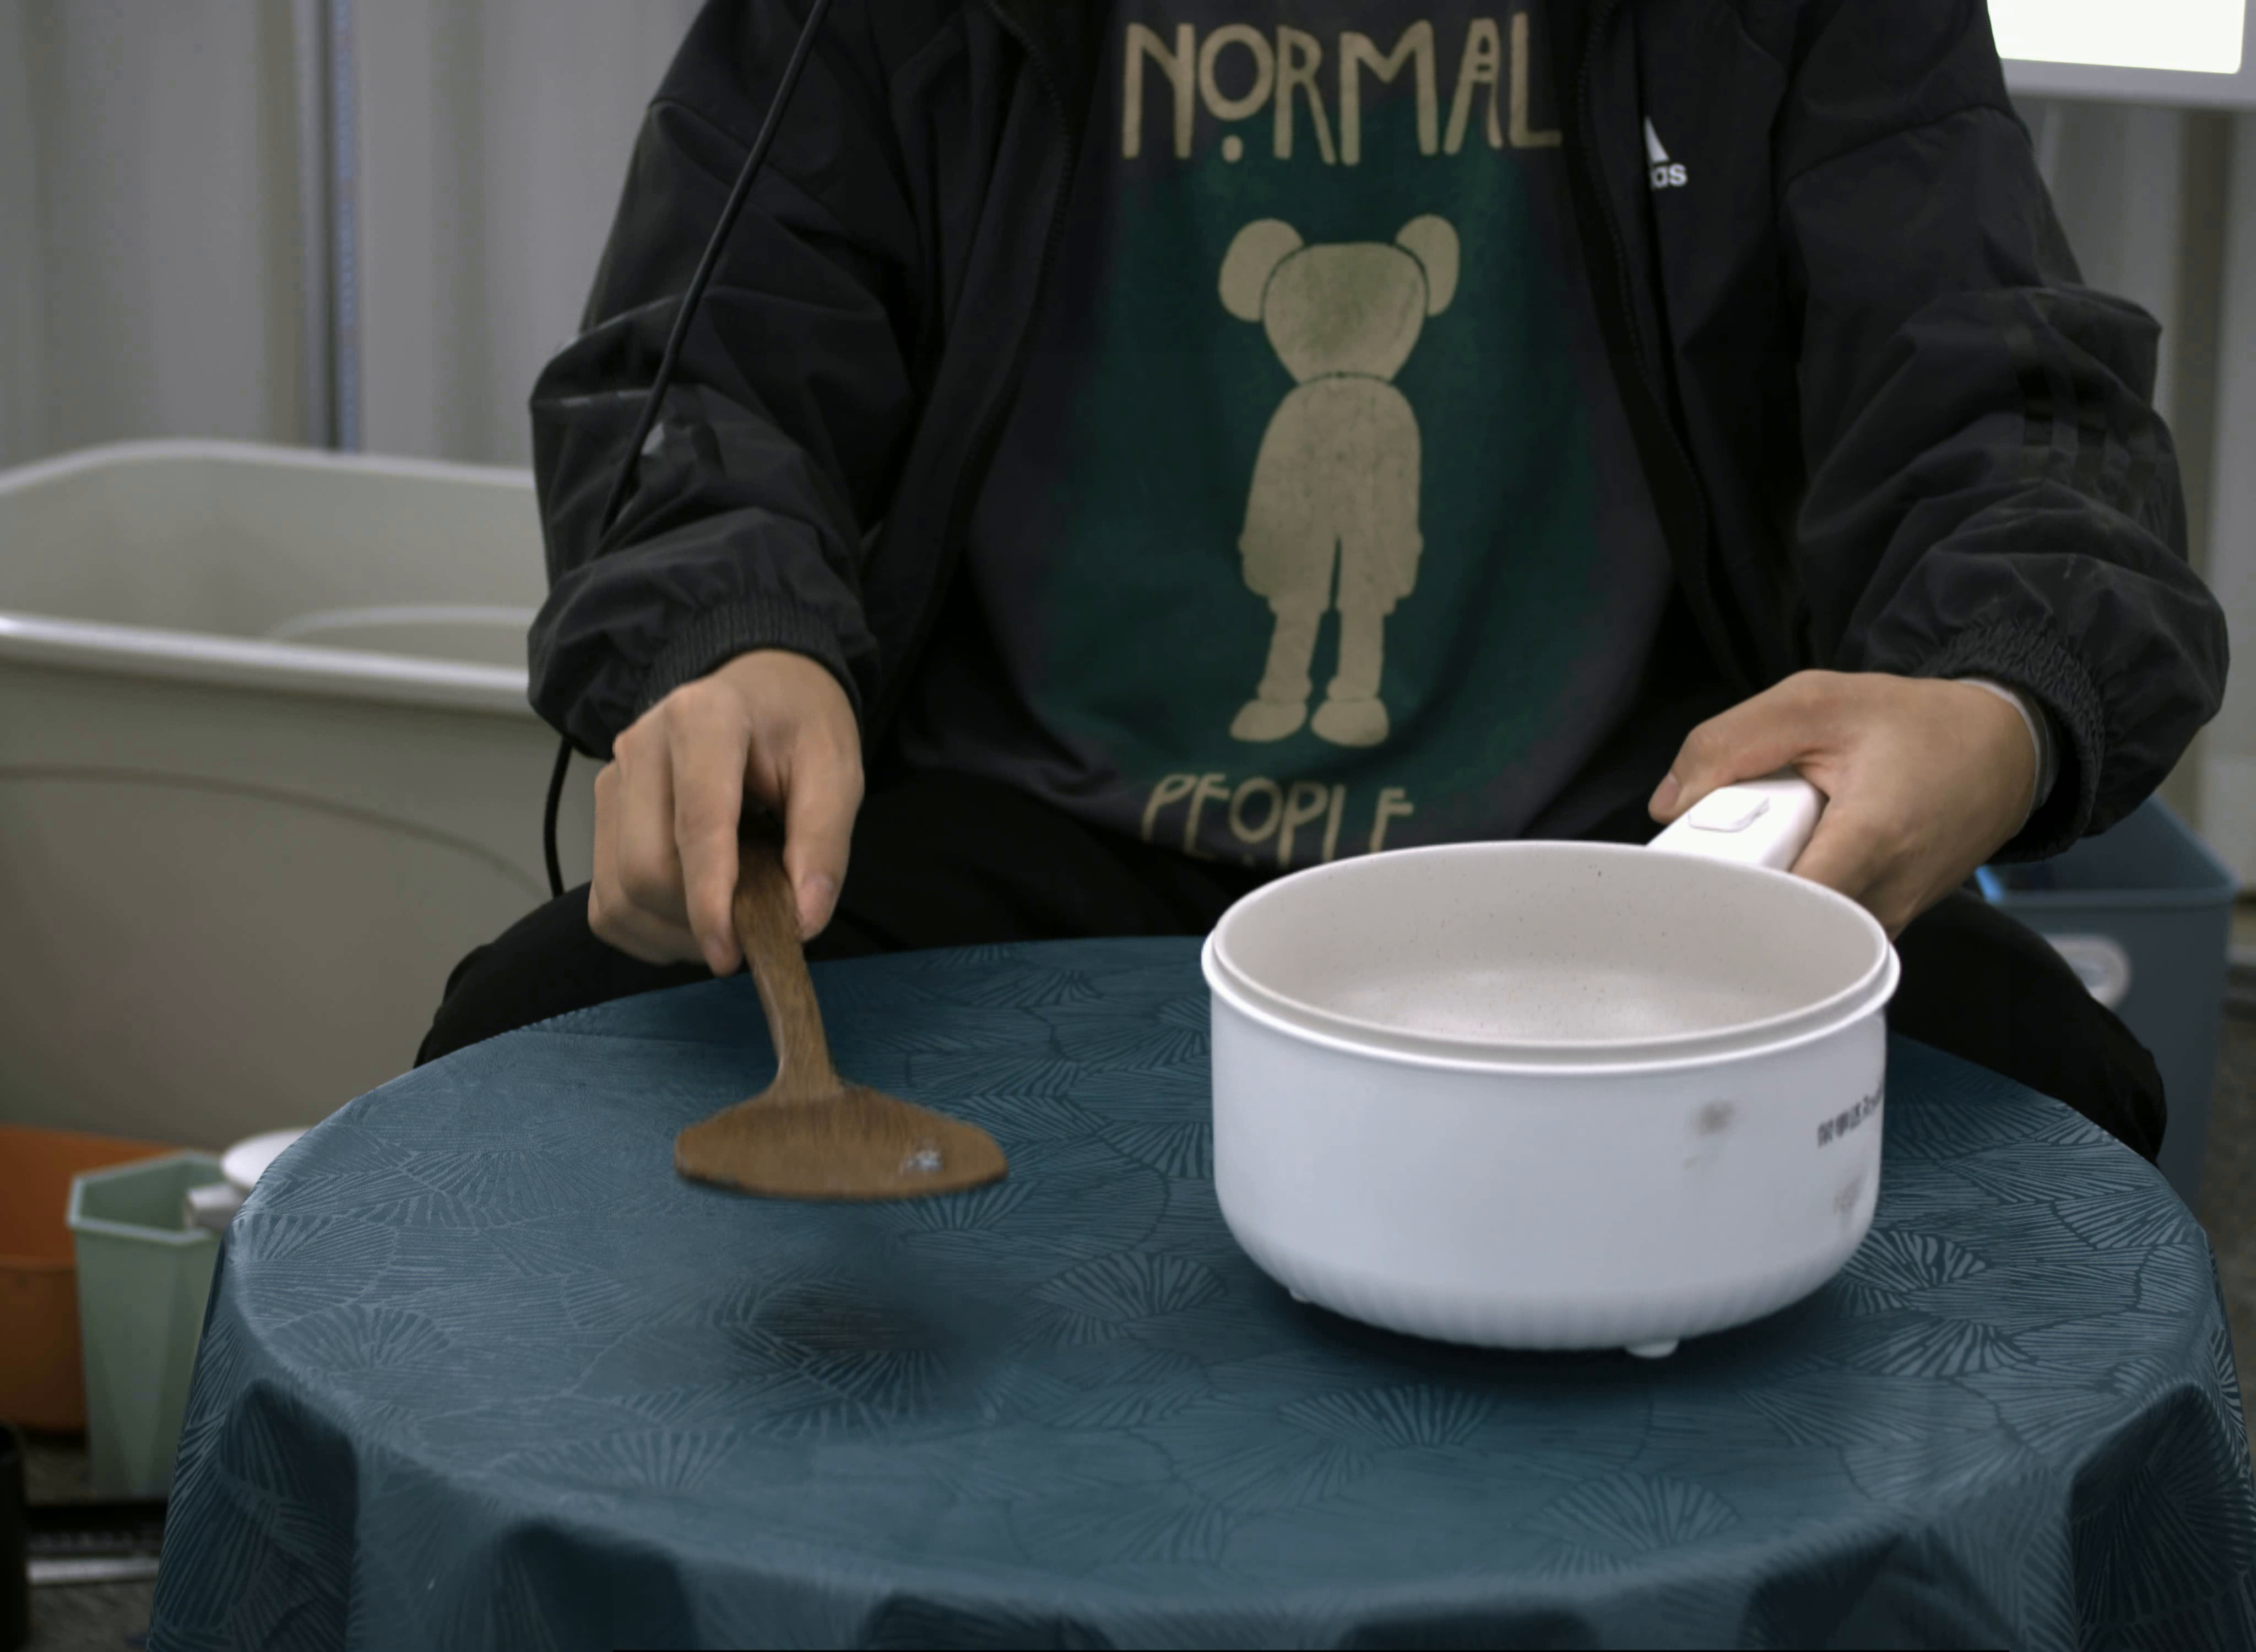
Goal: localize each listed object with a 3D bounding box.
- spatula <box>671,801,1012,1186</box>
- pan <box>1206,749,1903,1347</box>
[{"bbox_3d":[-0.106,0.046,1.629,0.096,0.016,0.382,0,16,-10],"label":"spatula"},{"bbox_3d":[0.155,0.061,1.596,0.199,0.103,0.355,6,16,24],"label":"pan"}]
